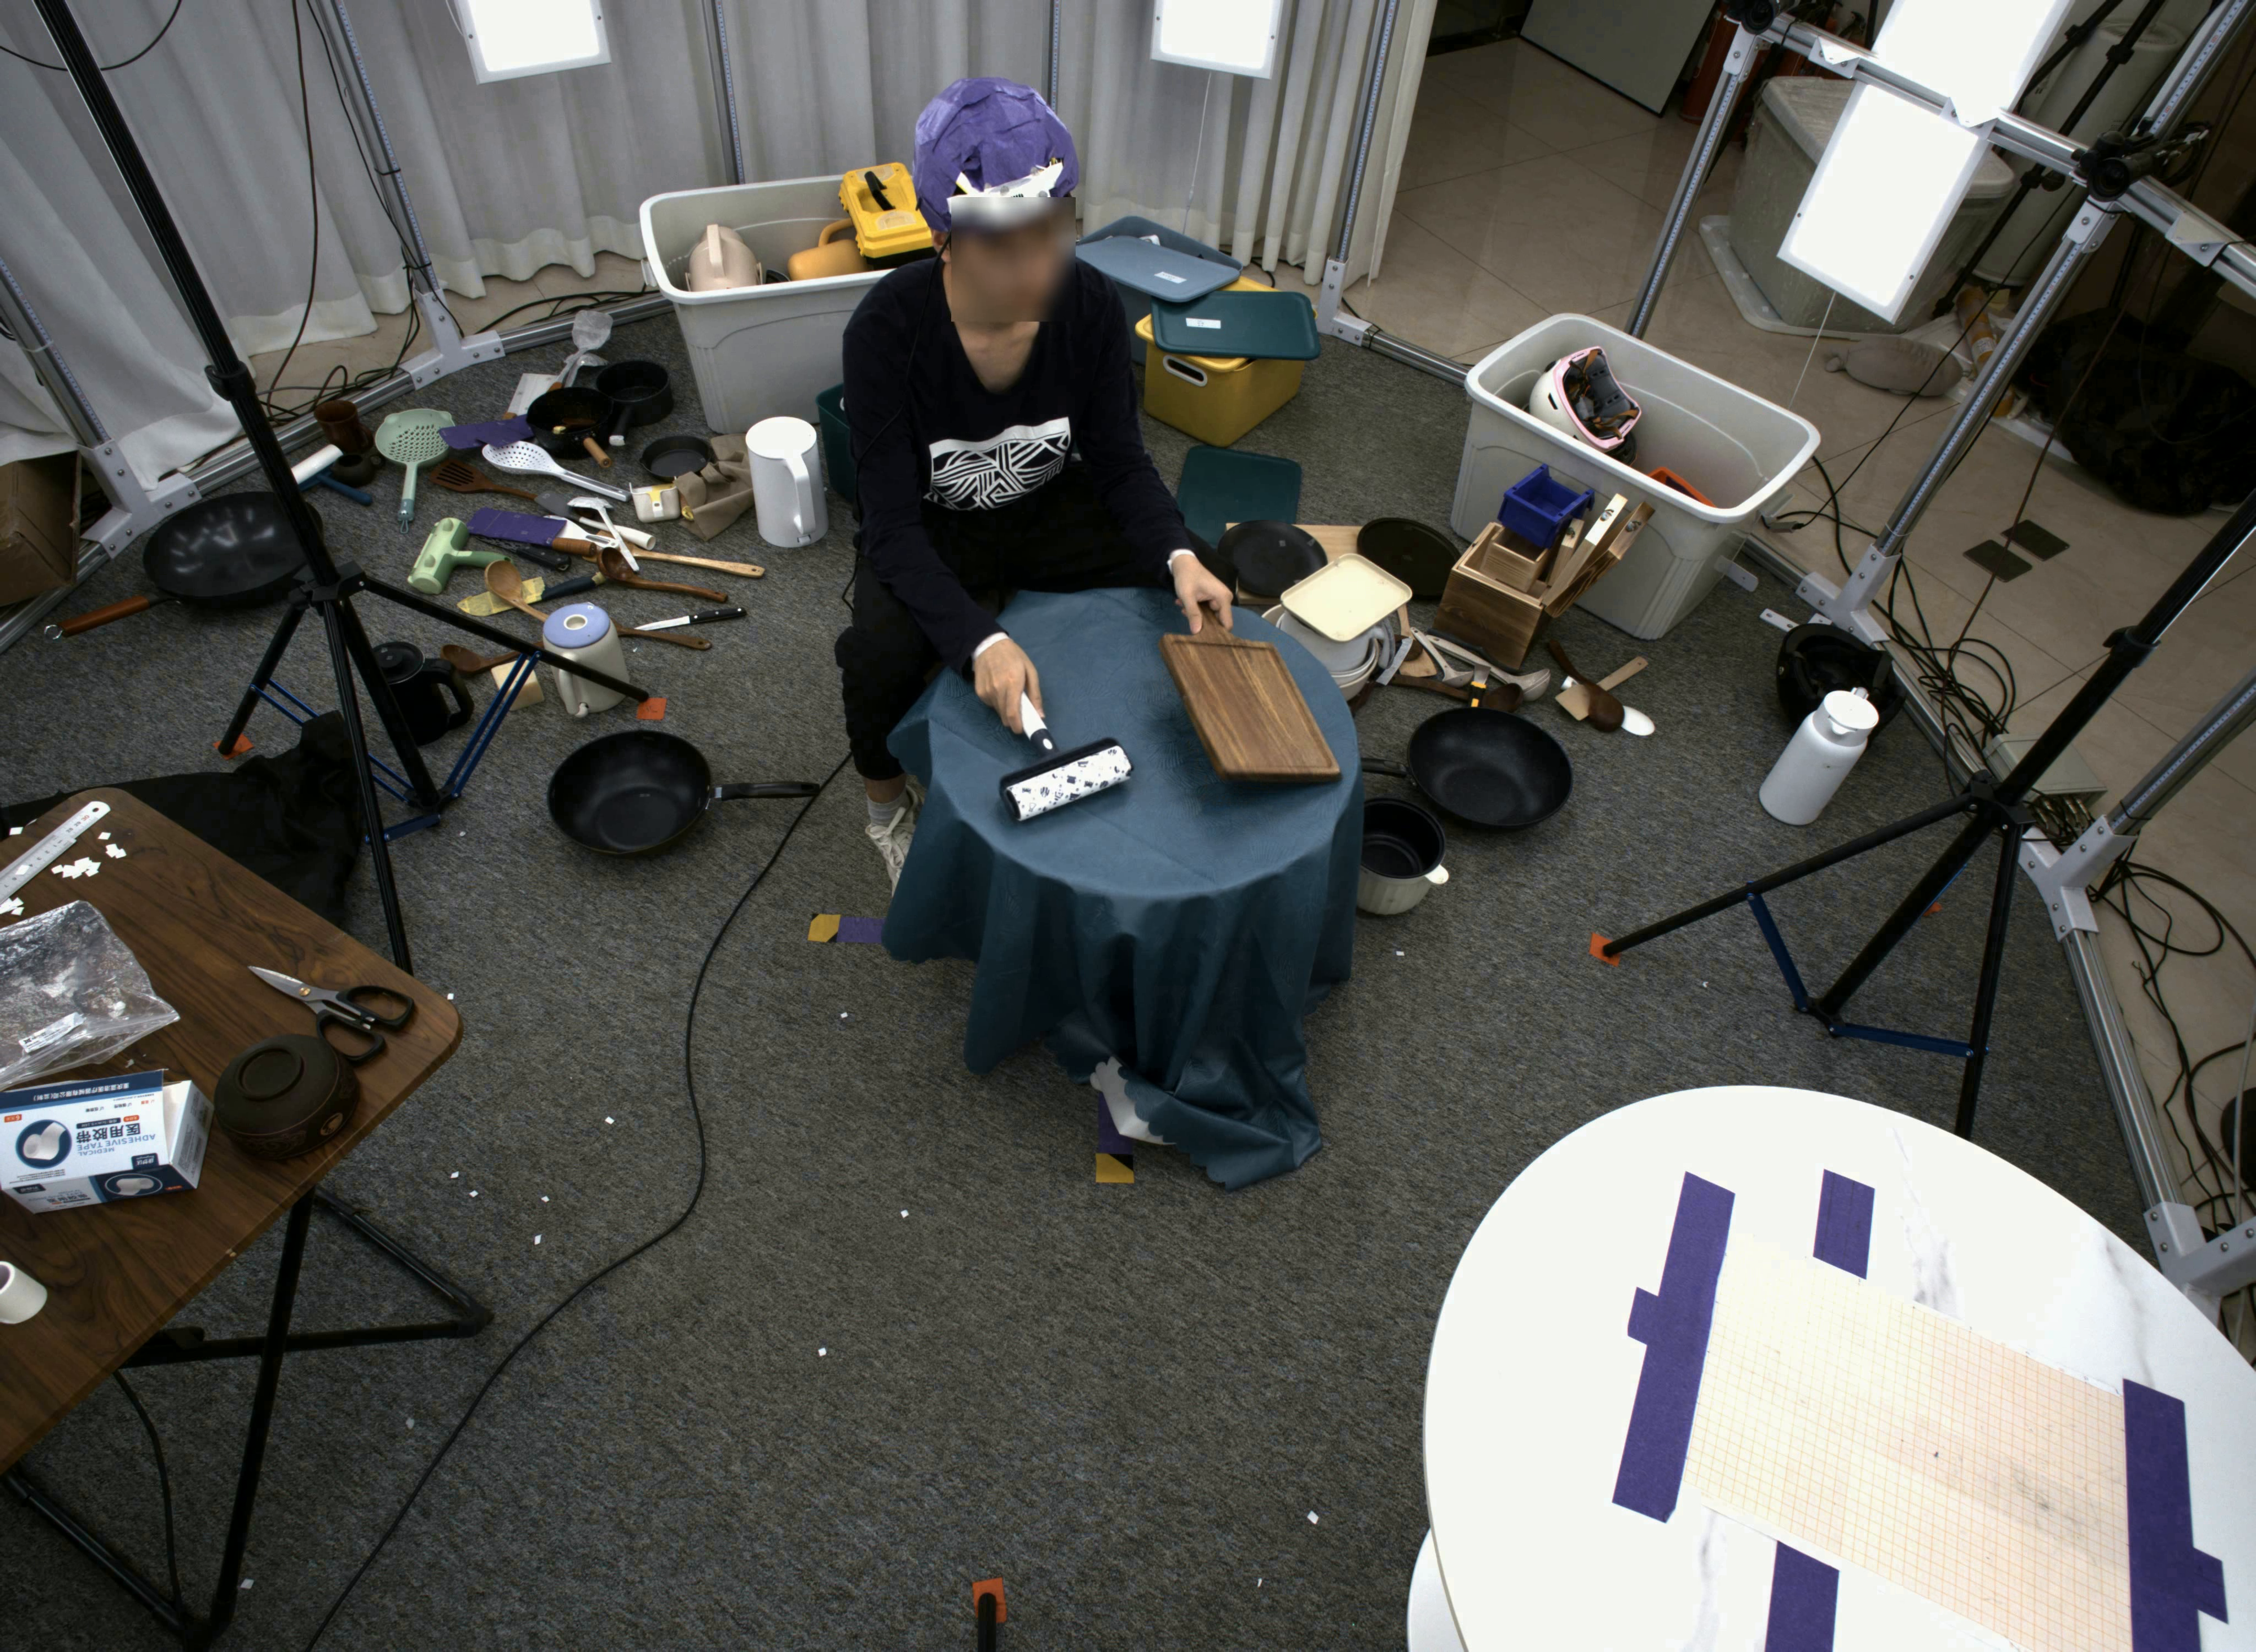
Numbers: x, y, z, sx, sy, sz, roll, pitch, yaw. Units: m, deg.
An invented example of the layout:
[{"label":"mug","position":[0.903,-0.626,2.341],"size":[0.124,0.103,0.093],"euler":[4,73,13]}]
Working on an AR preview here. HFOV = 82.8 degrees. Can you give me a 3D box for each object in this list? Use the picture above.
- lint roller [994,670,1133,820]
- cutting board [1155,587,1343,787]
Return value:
[{"label":"lint roller","position":[-0.126,-0.130,1.731],"size":[0.177,0.049,0.252],"euler":[-22,56,-17]},{"label":"cutting board","position":[0.149,-0.201,1.784],"size":[0.200,0.023,0.360],"euler":[-3,53,-28]}]
